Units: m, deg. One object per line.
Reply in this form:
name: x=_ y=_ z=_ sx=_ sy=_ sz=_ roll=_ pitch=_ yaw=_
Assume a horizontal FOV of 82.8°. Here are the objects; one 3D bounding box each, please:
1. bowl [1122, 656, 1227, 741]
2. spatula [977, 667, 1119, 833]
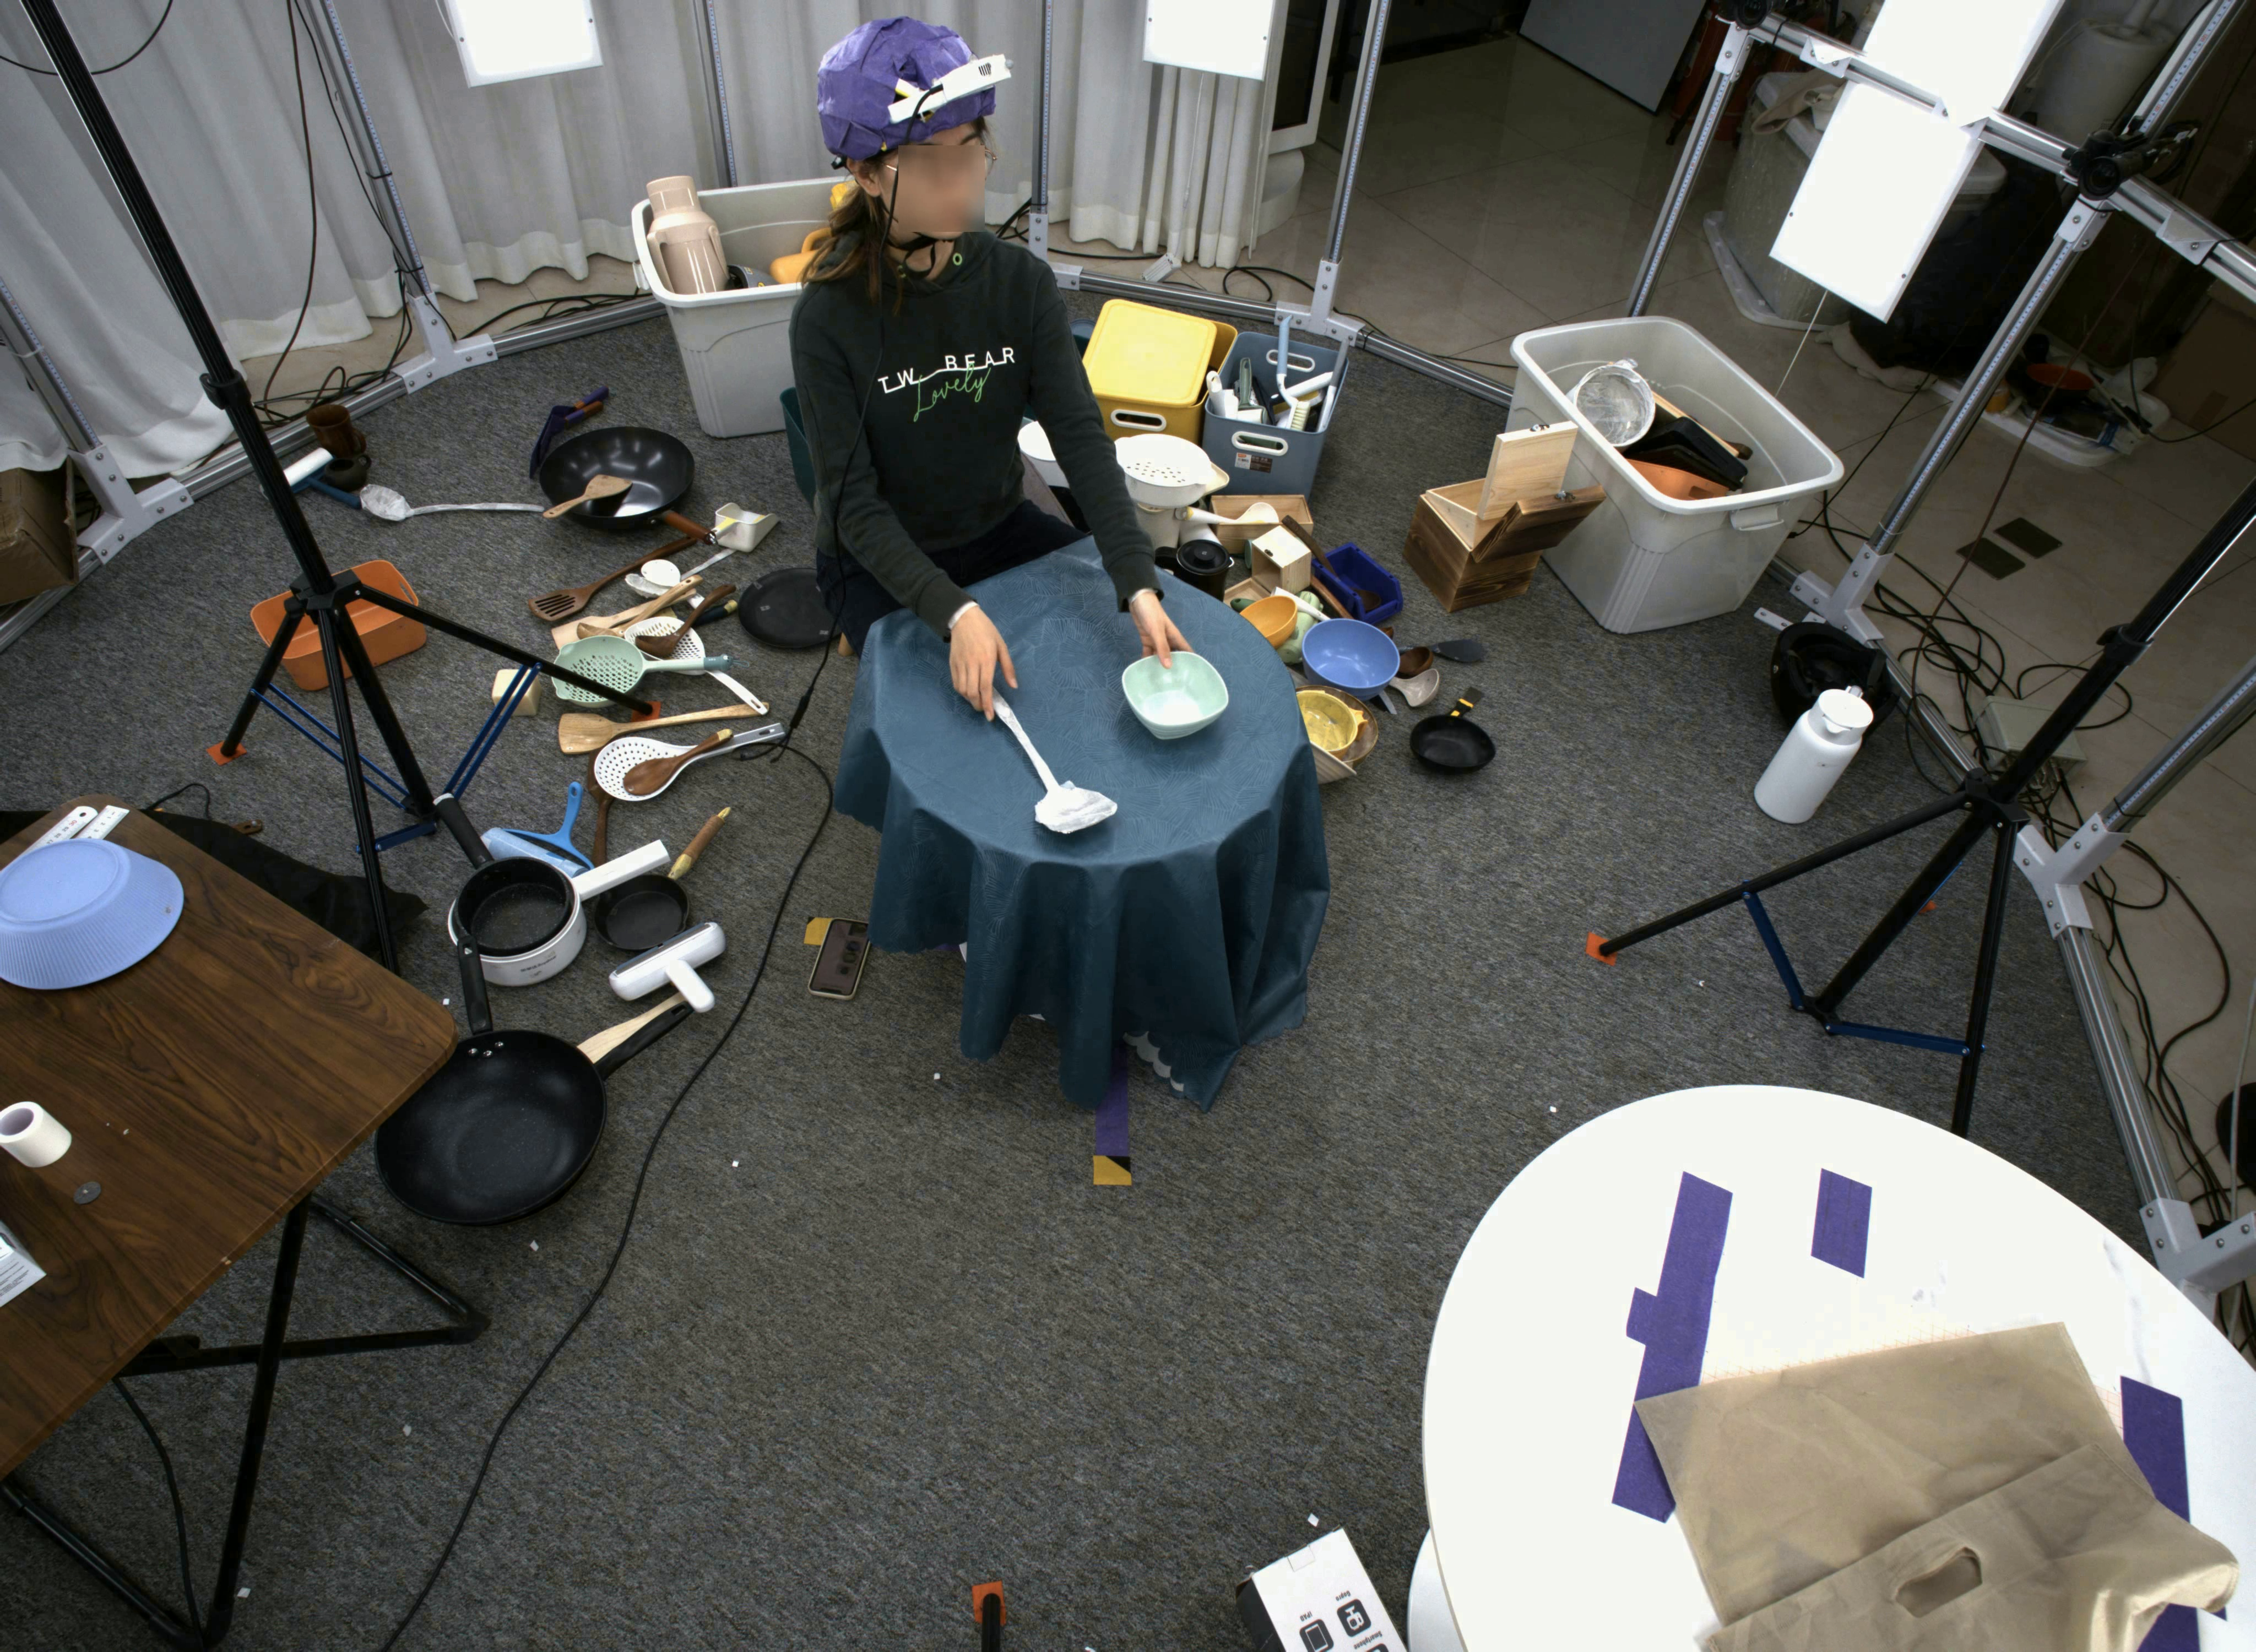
bowl: x=0.062 y=-0.171 z=1.803 sx=0.151 sy=0.057 sz=0.155 roll=2 pitch=48 yaw=-3
spatula: x=-0.132 y=-0.114 z=1.749 sx=0.099 sy=0.043 sz=0.373 roll=-21 pitch=54 yaw=-18
